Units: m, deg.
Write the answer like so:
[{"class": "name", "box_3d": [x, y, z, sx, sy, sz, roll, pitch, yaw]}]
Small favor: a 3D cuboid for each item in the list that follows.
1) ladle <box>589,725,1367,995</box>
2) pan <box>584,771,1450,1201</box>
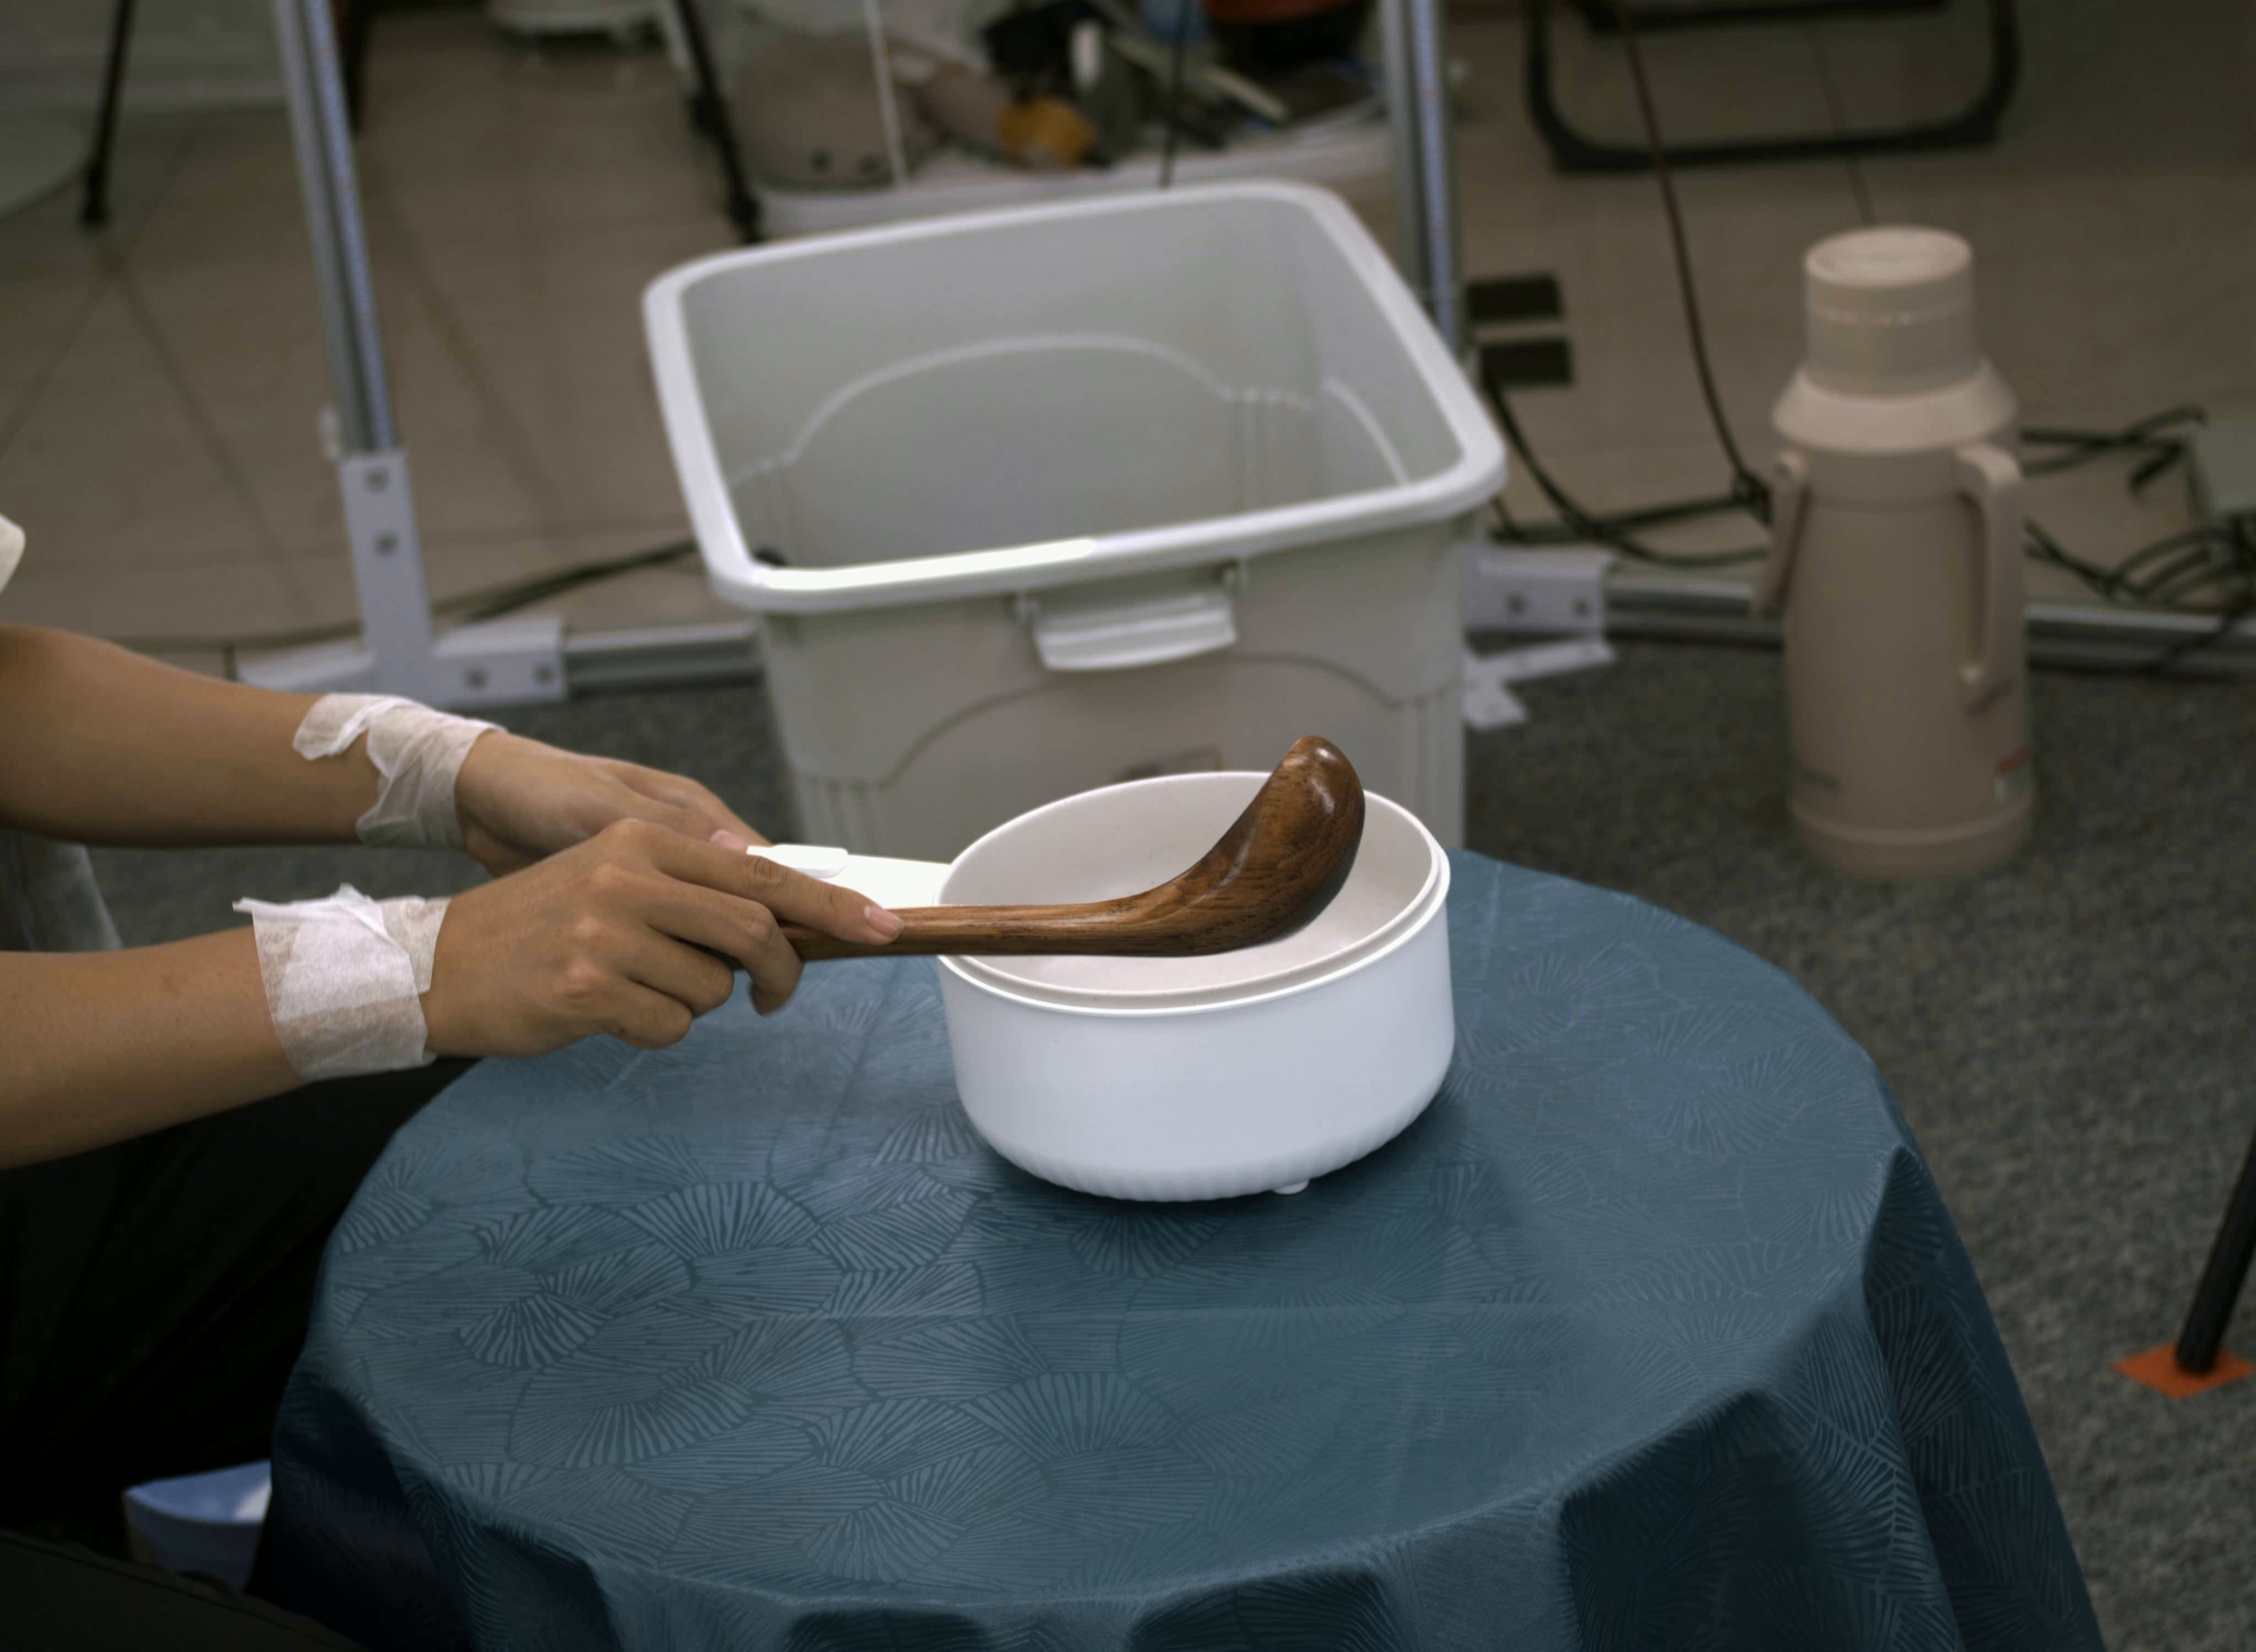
[{"class": "ladle", "box_3d": [-0.052, 0.011, 1.967, 0.273, 0.083, 0.075, -4, 55, -3]}, {"class": "pan", "box_3d": [-0.045, 0.060, 2.211, 0.354, 0.104, 0.198, 4, 28, 23]}]
